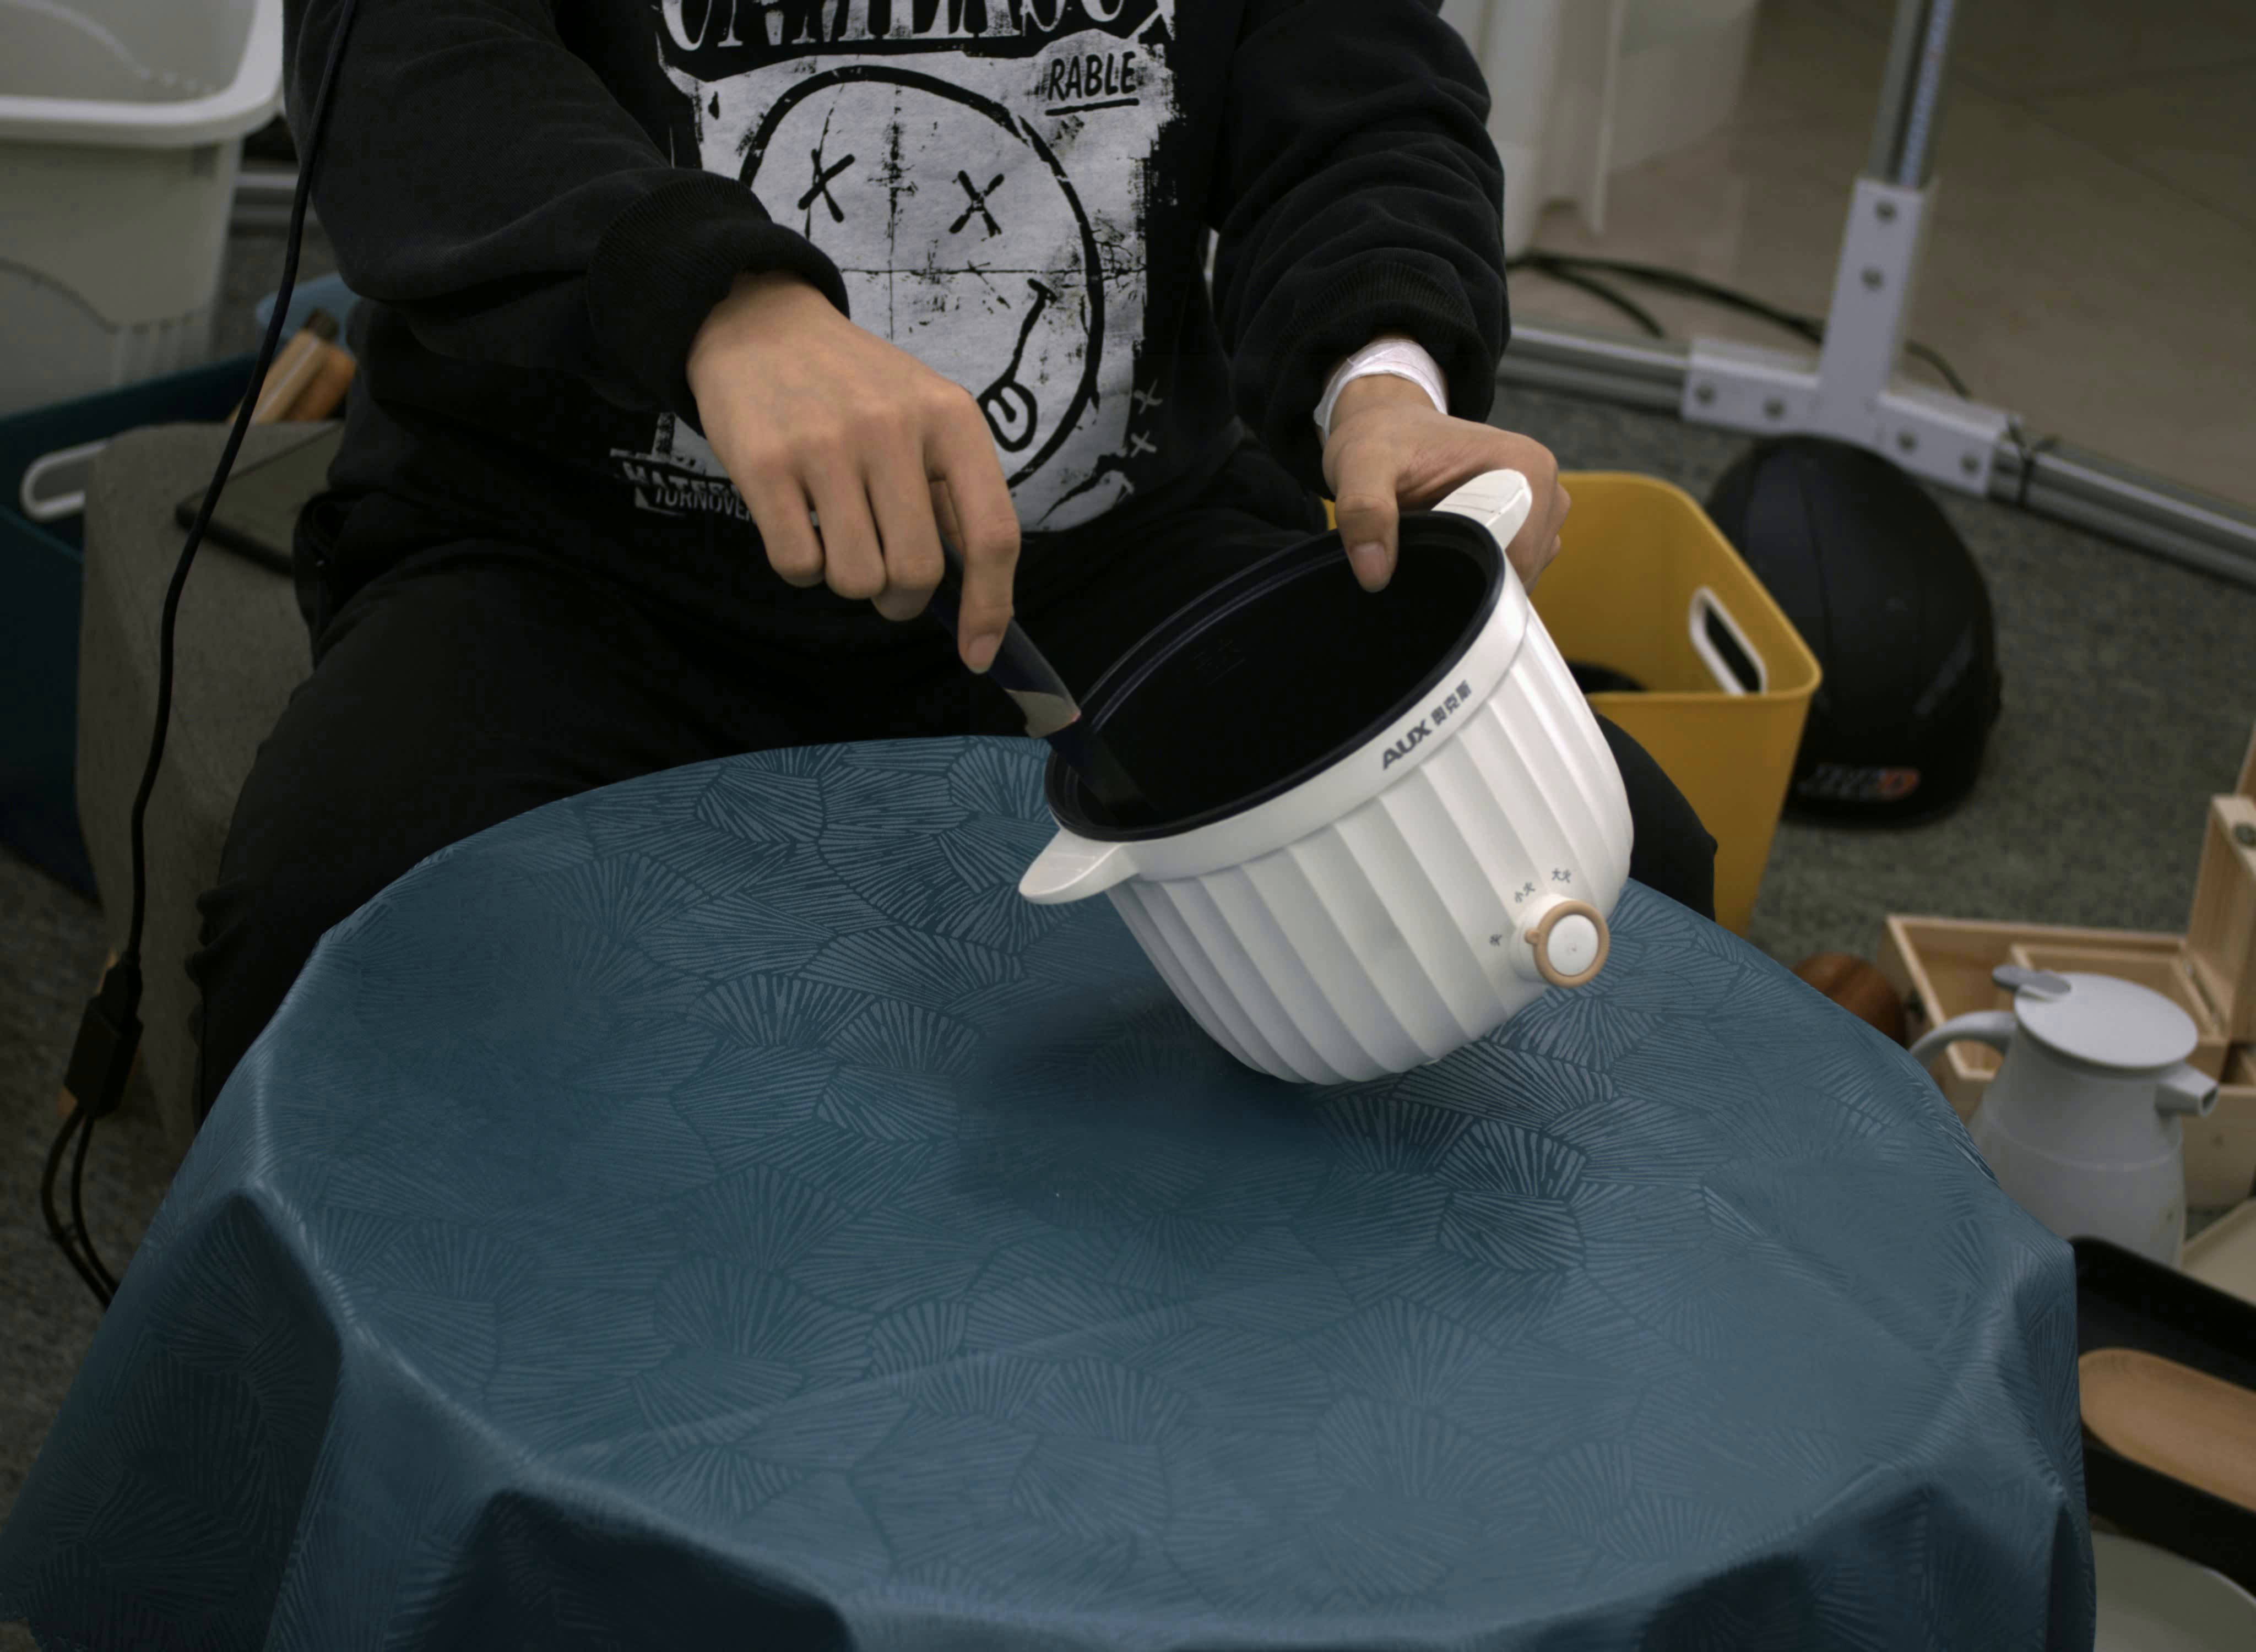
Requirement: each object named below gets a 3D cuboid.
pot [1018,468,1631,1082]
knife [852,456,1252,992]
[{"bbox_3d":[0.085,-0.004,1.866,0.240,0.142,0.191,-42,22,-19],"label":"pot"},{"bbox_3d":[-0.021,-0.033,1.795,0.026,0.225,0.017,-33,13,22],"label":"knife"}]
